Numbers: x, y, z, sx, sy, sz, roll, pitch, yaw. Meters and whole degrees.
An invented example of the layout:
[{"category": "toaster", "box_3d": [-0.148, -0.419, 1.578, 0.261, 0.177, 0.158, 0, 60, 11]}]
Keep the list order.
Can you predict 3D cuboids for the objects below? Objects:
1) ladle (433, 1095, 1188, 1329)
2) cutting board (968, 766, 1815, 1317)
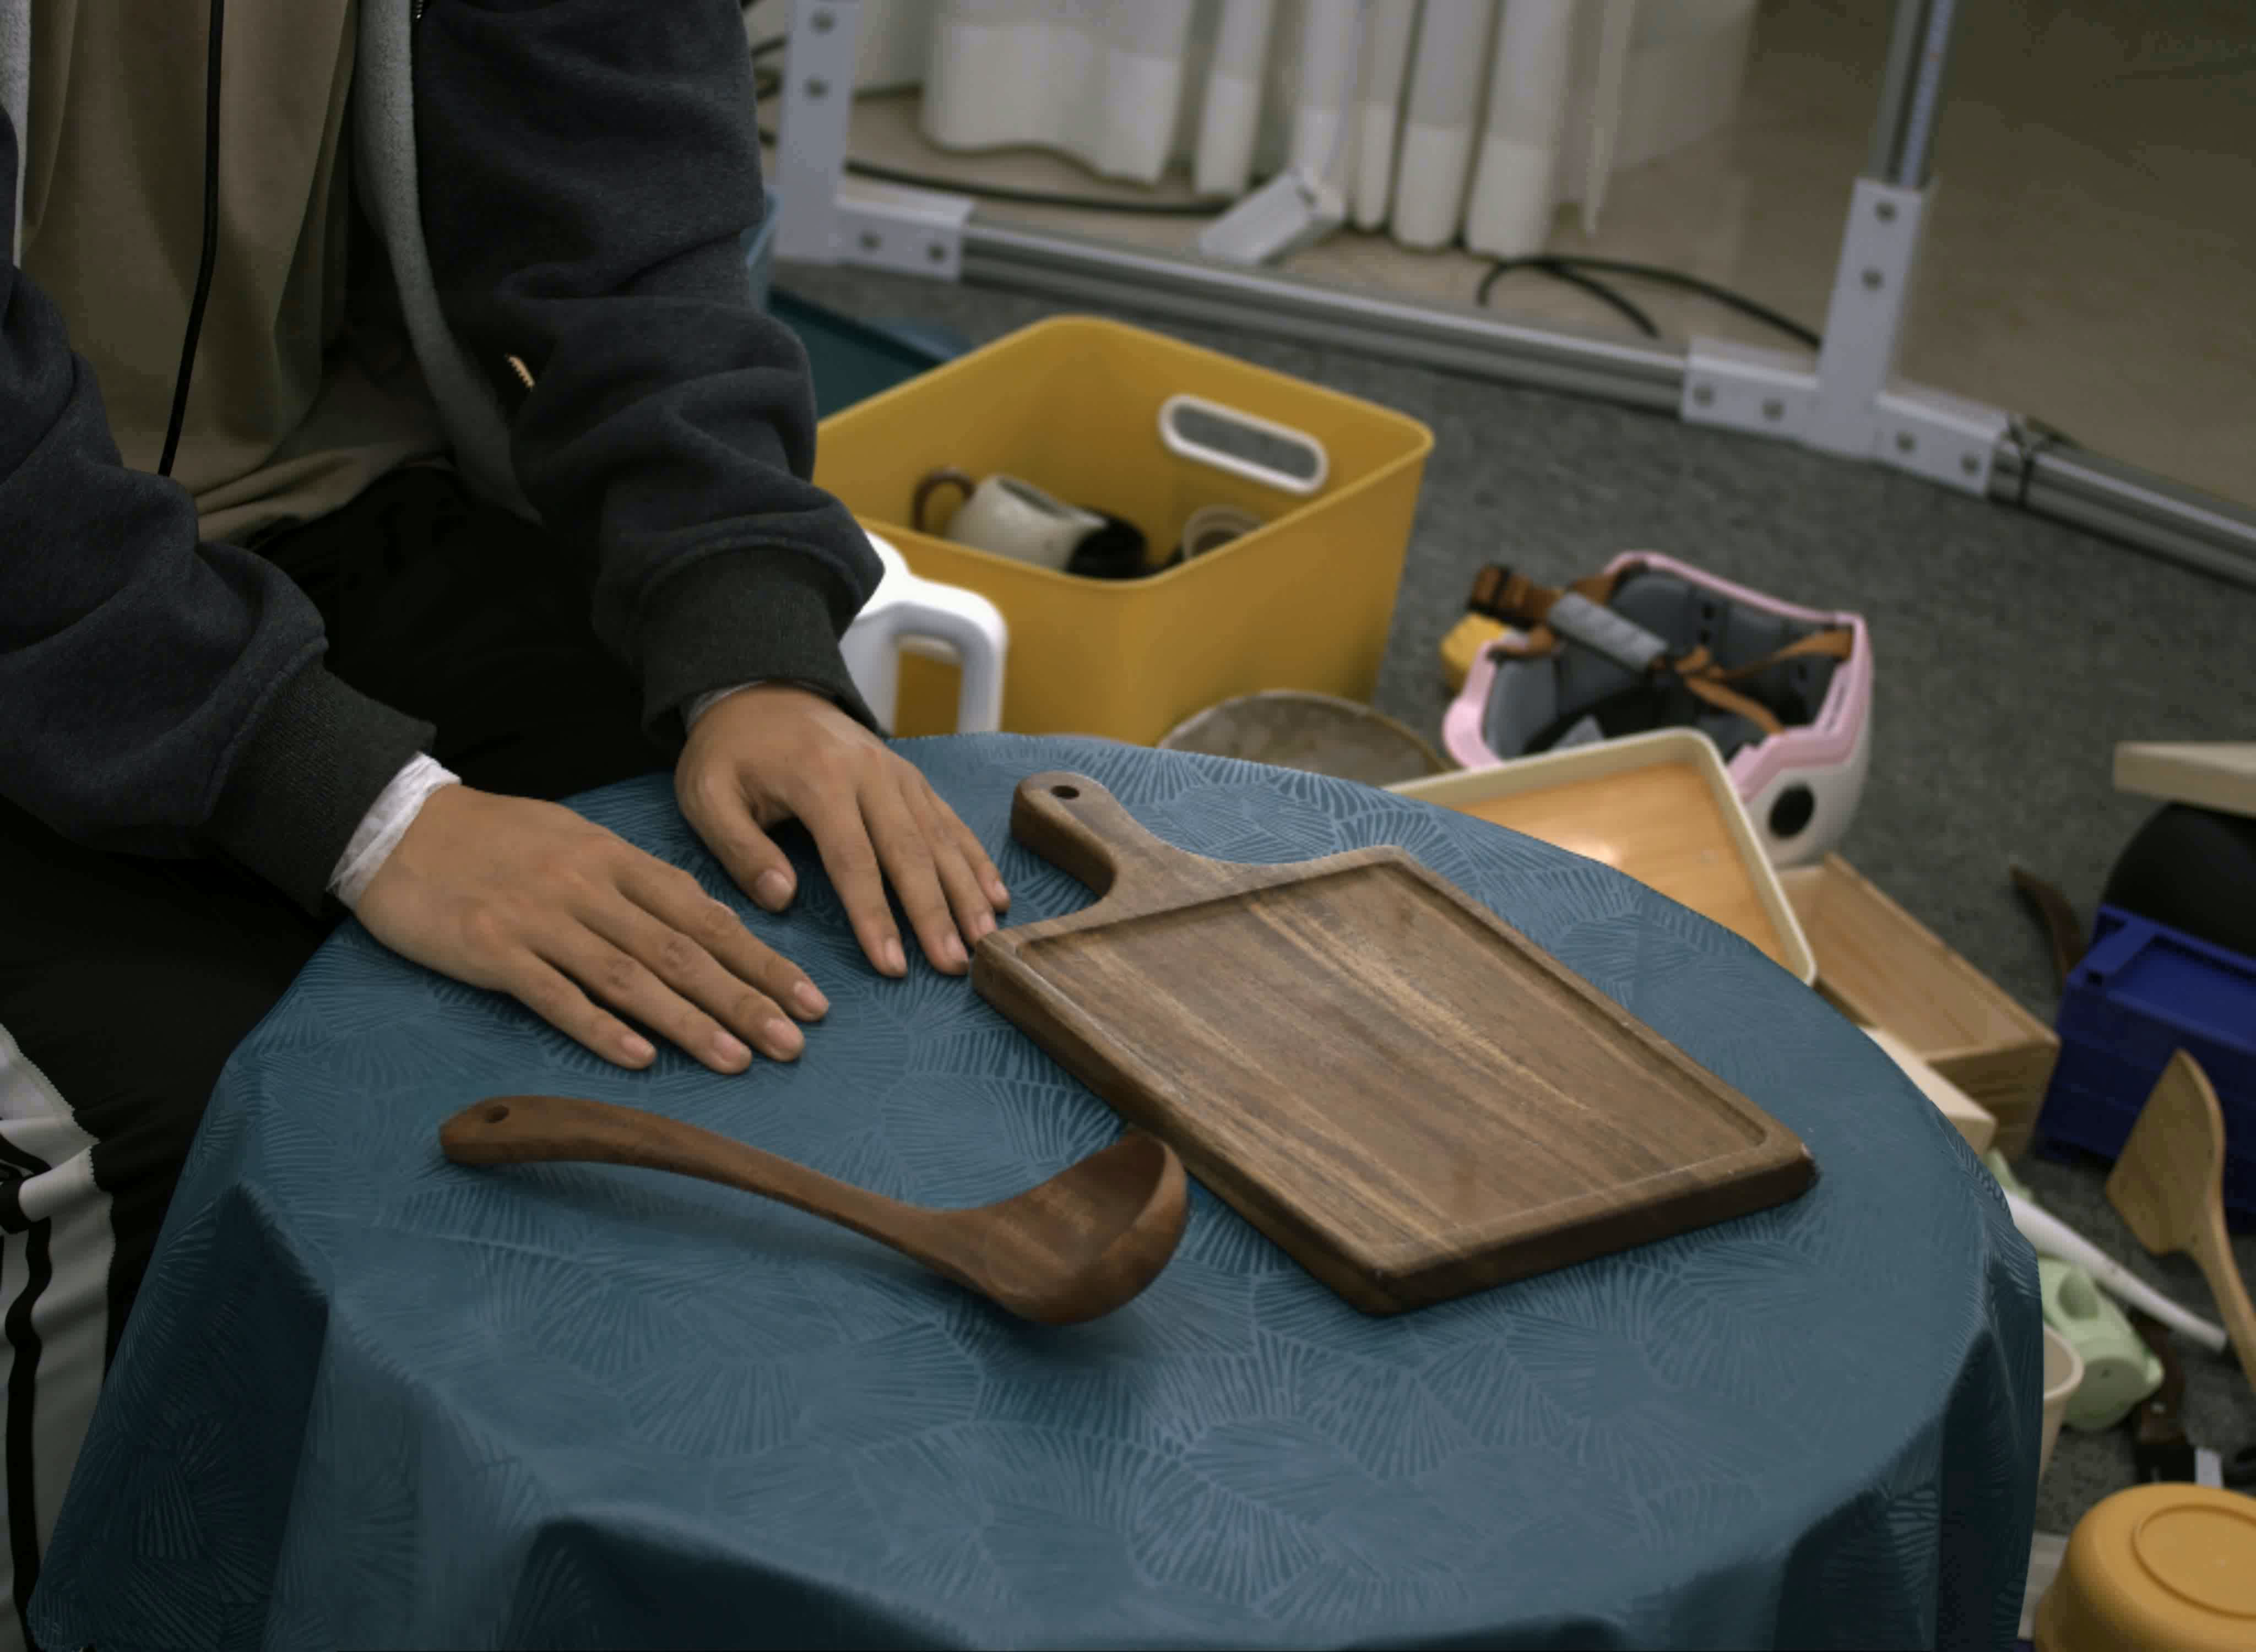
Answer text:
[{"category": "ladle", "box_3d": [-0.106, 0.110, 1.734, 0.260, 0.065, 0.077, 14, 35, 14]}, {"category": "cutting board", "box_3d": [0.063, 0.062, 1.911, 0.200, 0.023, 0.355, -11, 32, -33]}]
